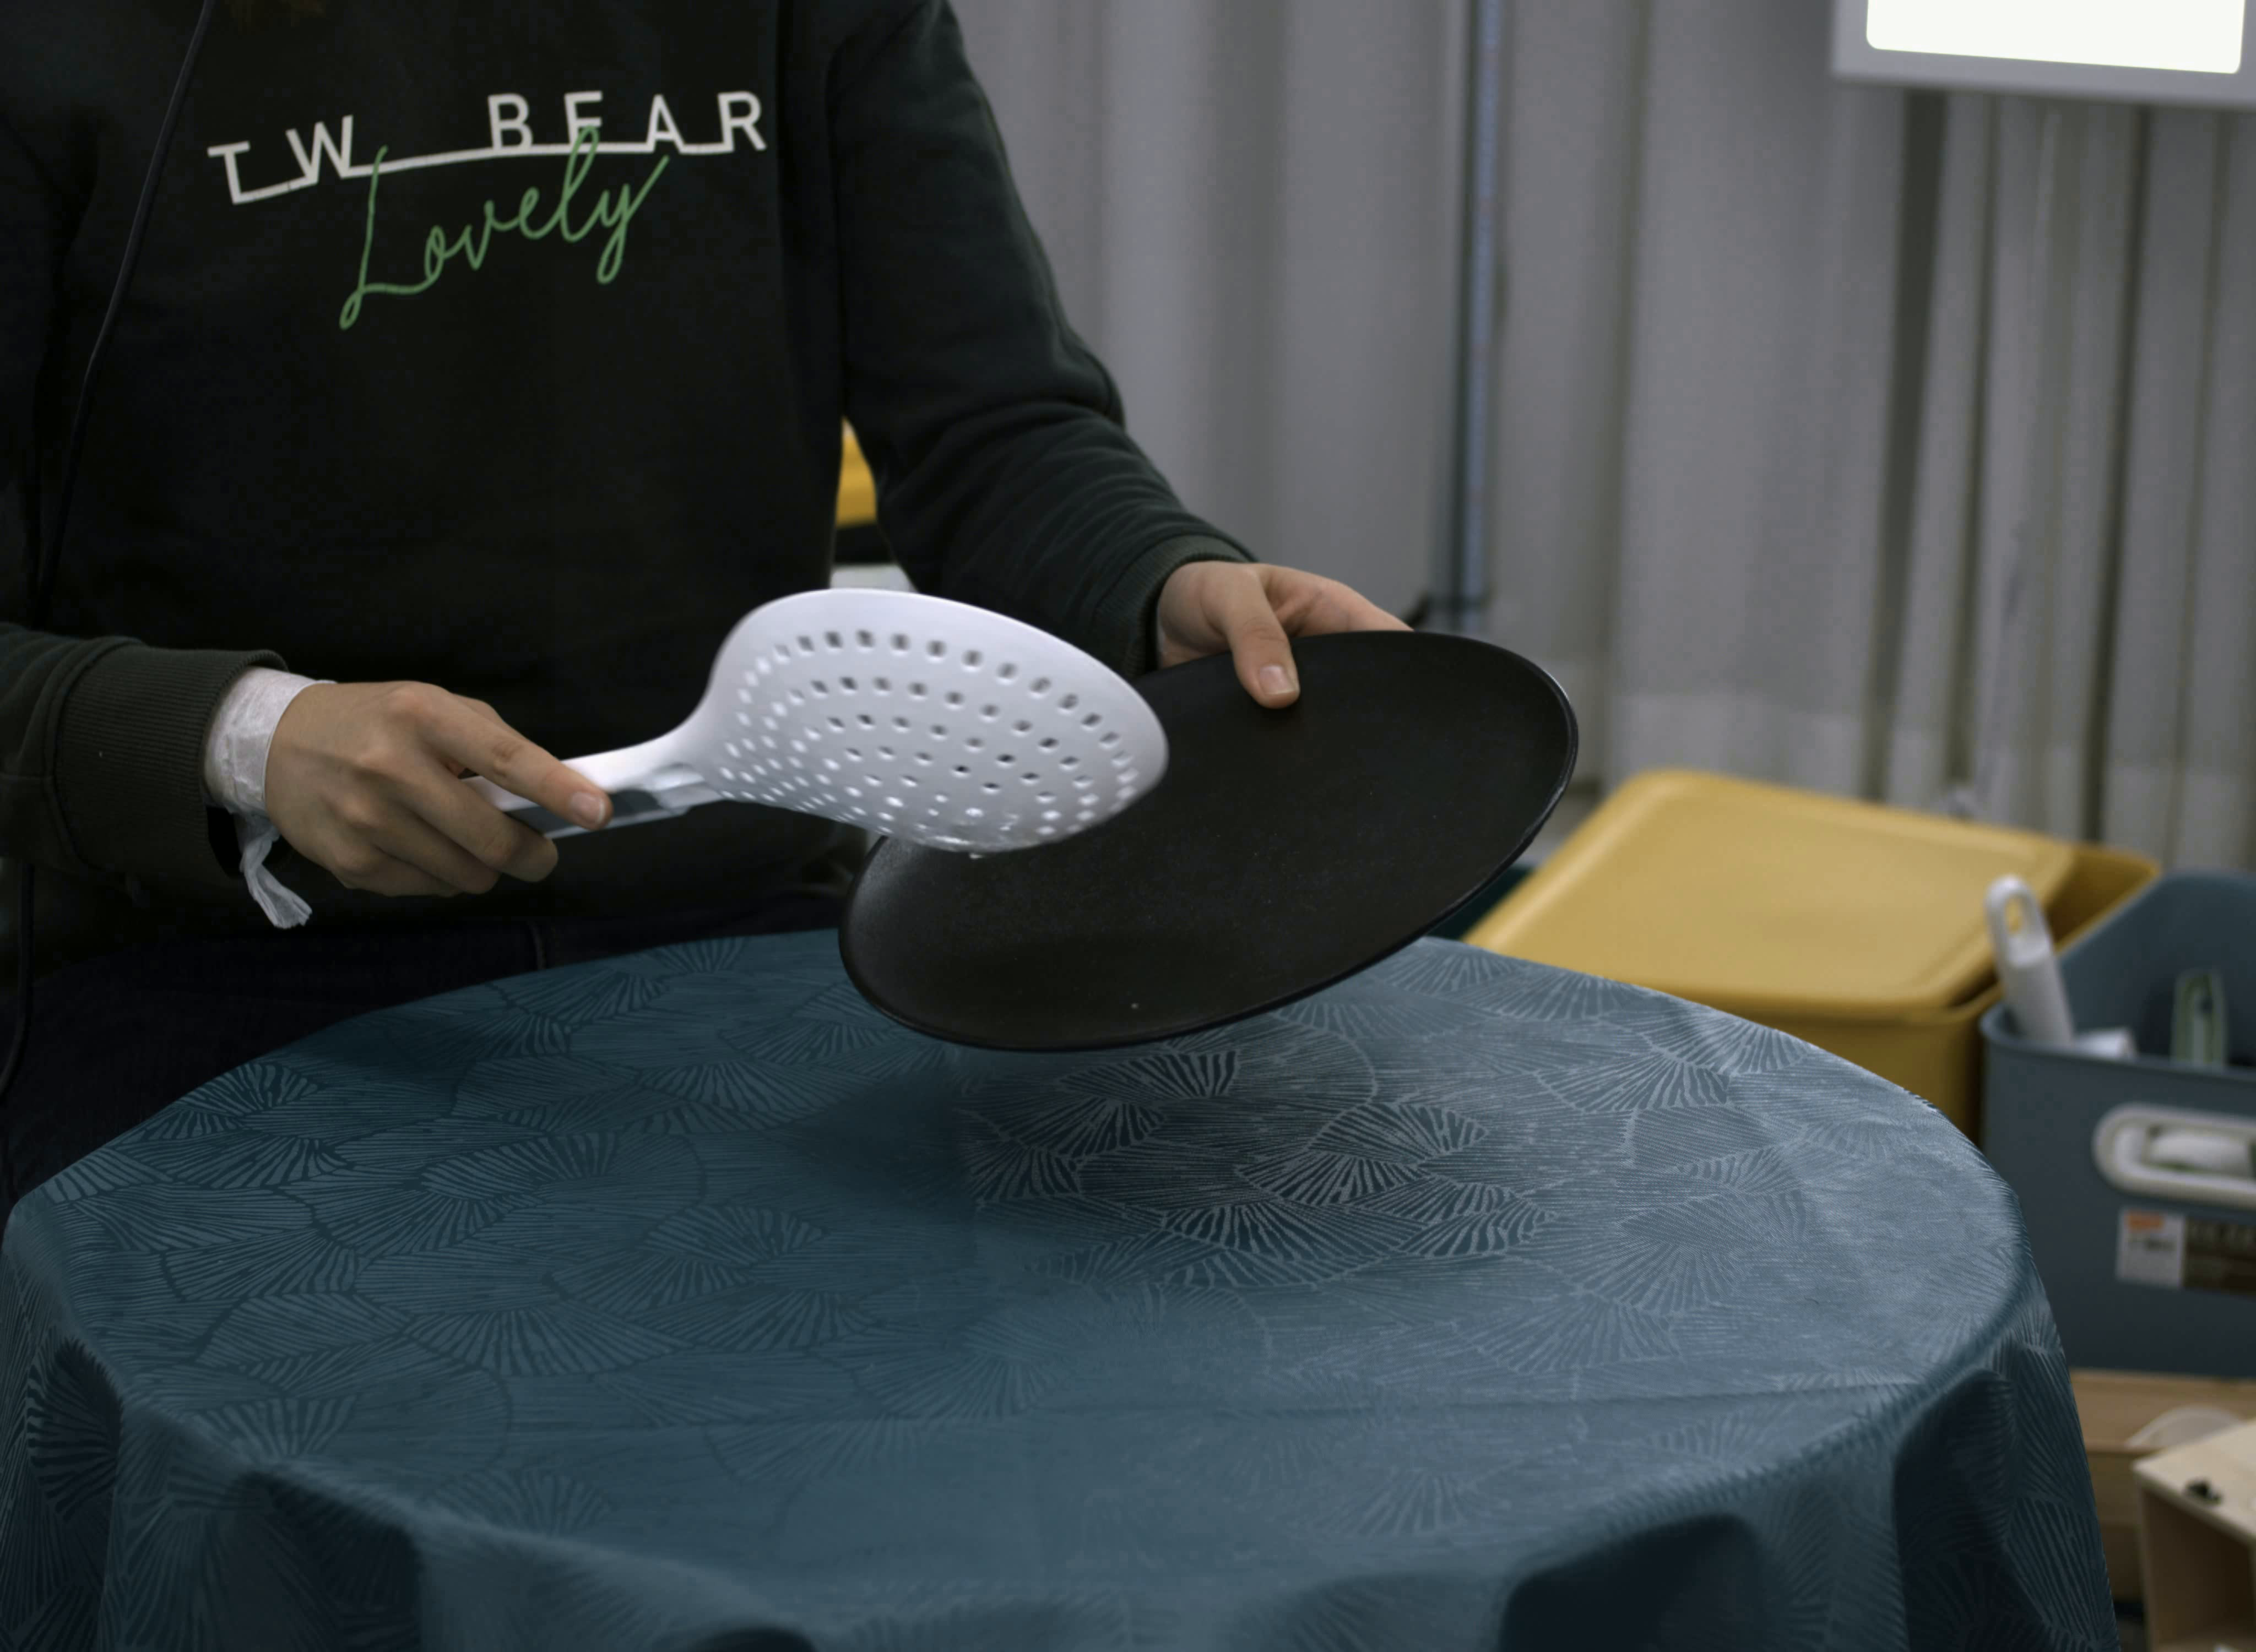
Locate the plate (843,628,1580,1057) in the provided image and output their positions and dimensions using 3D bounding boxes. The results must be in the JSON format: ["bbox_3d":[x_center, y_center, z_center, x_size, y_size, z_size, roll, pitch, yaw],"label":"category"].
[{"bbox_3d":[0.028,0.009,1.660,0.243,0.024,0.242,-15,28,9],"label":"plate"}]

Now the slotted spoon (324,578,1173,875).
[{"bbox_3d":[-0.134,-0.017,1.661,0.346,0.045,0.138,-4,-33,43],"label":"slotted spoon"}]
